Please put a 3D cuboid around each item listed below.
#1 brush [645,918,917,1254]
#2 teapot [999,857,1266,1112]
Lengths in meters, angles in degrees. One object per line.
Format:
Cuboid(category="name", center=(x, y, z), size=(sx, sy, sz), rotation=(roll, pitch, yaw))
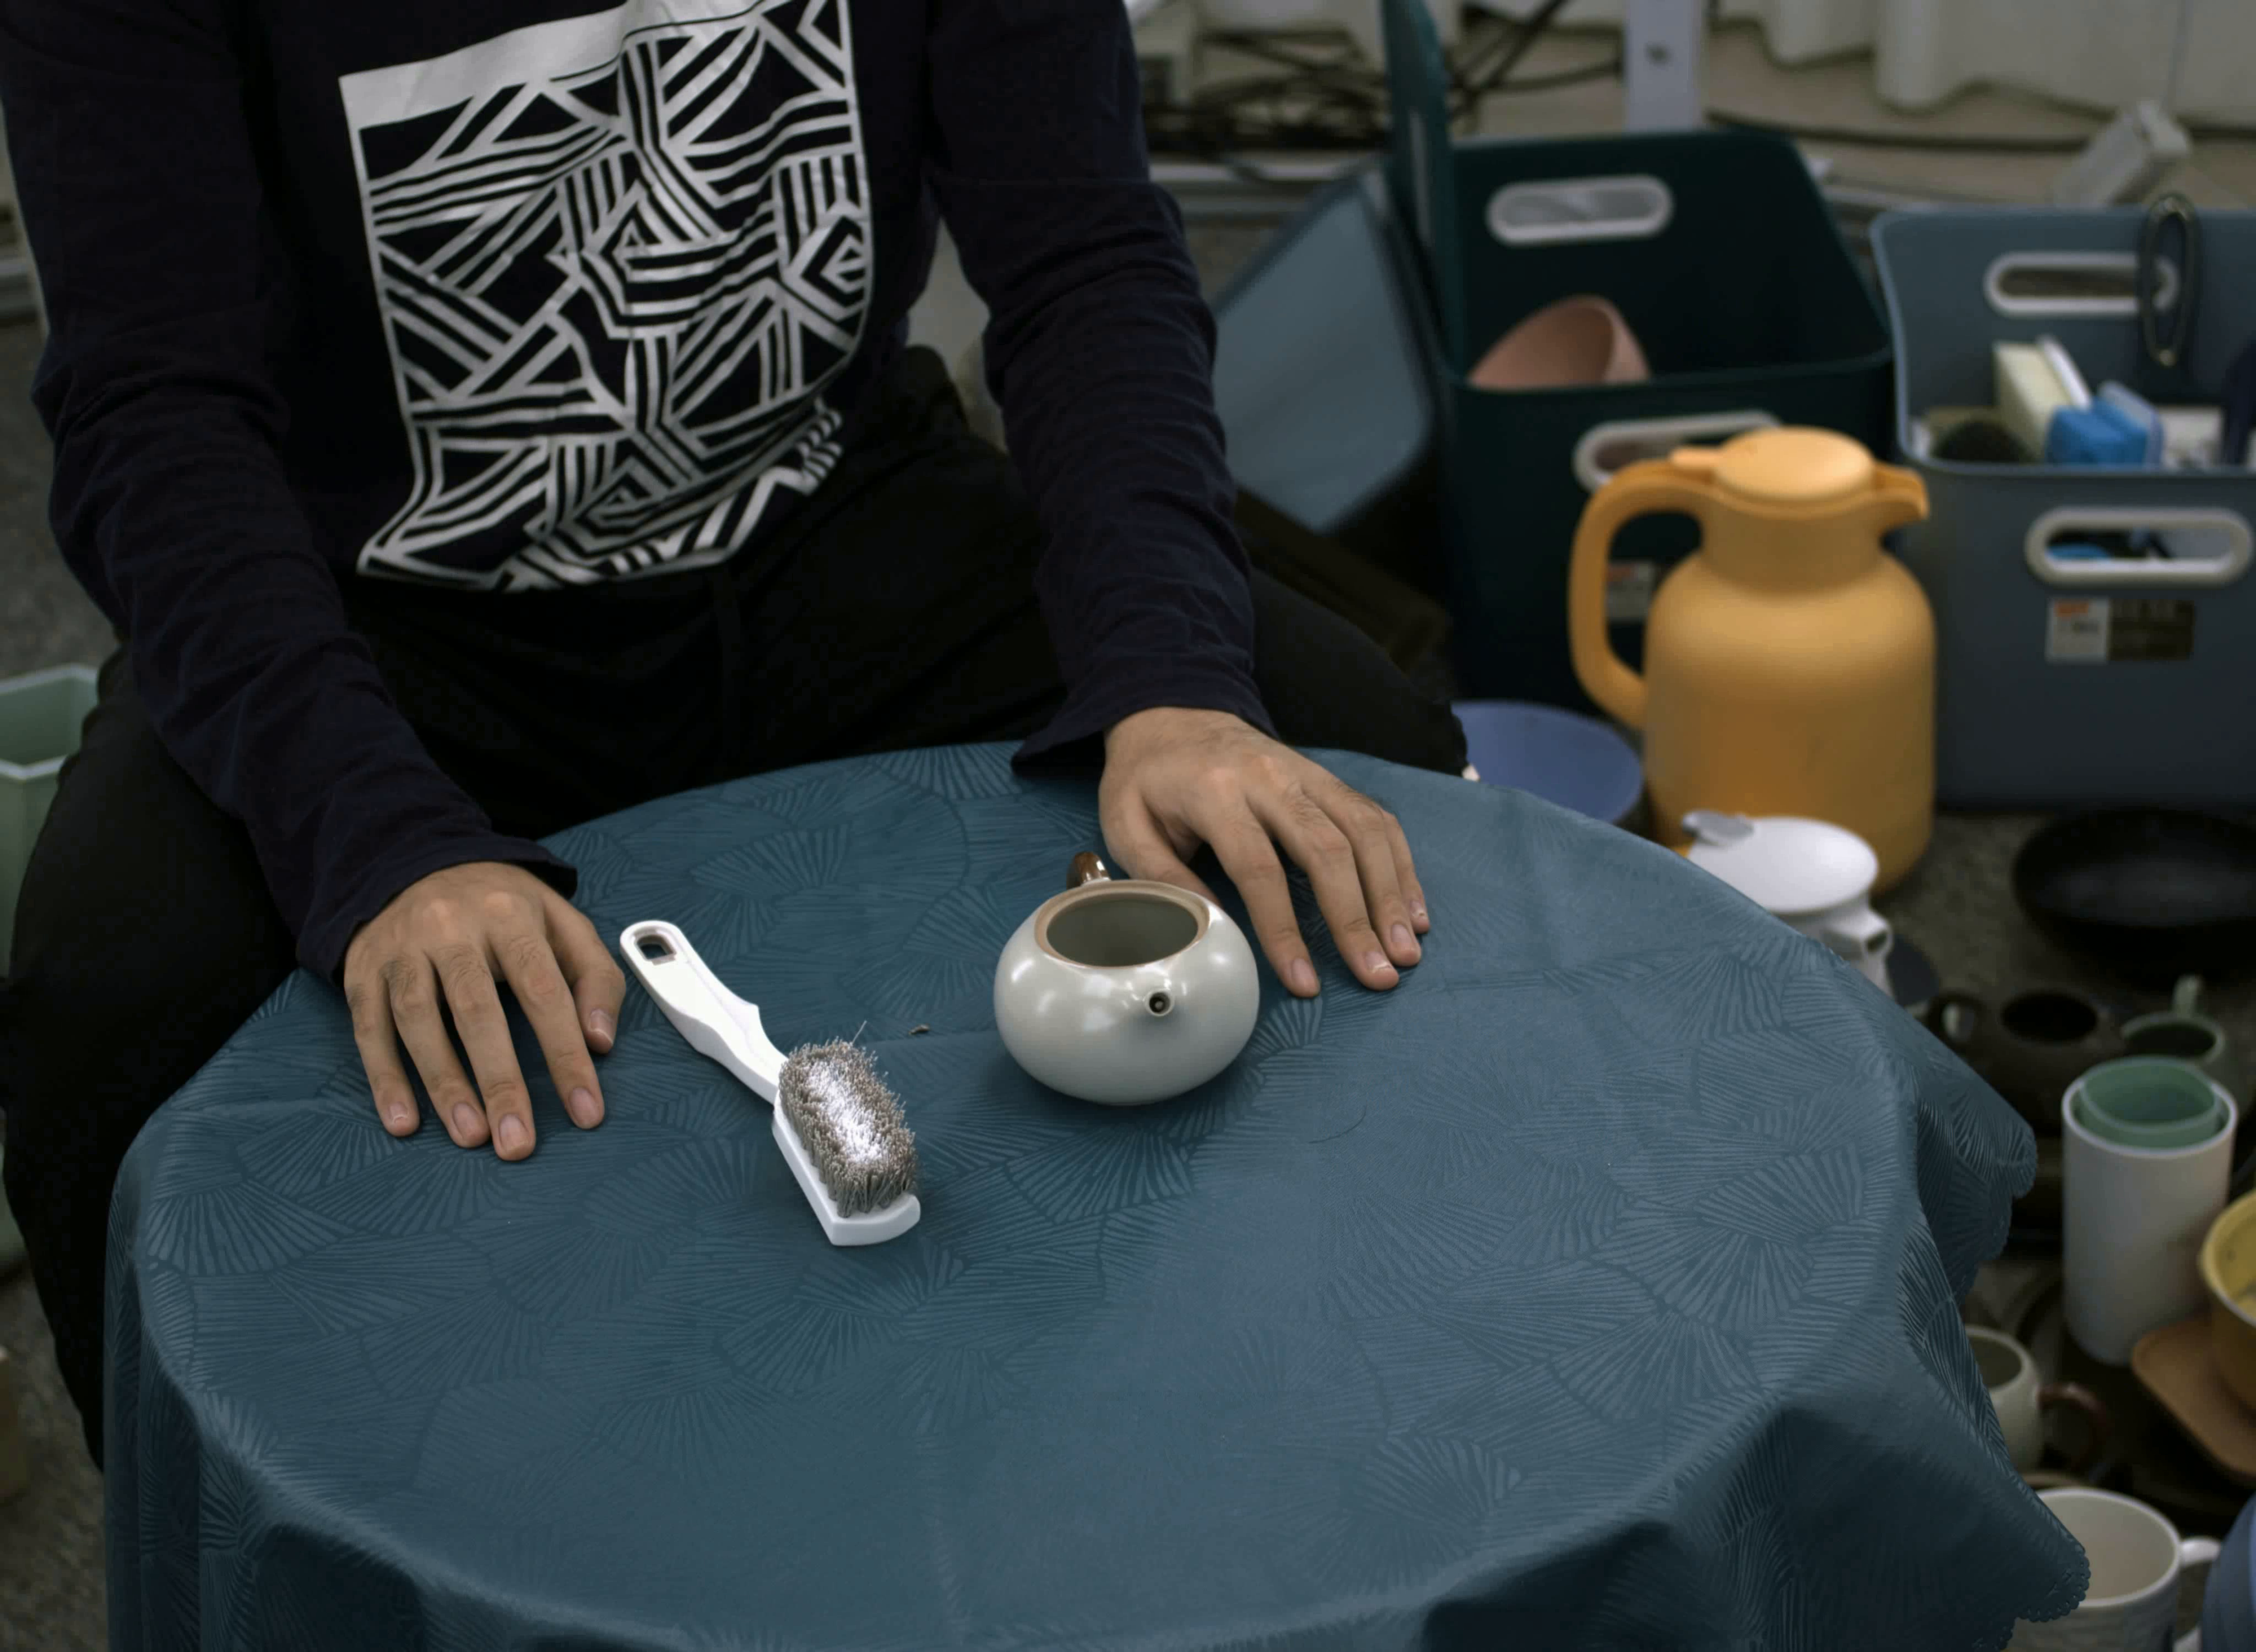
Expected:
Cuboid(category="brush", center=(-0.124, 0.071, 1.918), size=(0.034, 0.049, 0.245), rotation=(-16, 30, -15))
Cuboid(category="teapot", center=(-0.001, 0.055, 1.929), size=(0.092, 0.059, 0.129), rotation=(-12, 29, -12))
